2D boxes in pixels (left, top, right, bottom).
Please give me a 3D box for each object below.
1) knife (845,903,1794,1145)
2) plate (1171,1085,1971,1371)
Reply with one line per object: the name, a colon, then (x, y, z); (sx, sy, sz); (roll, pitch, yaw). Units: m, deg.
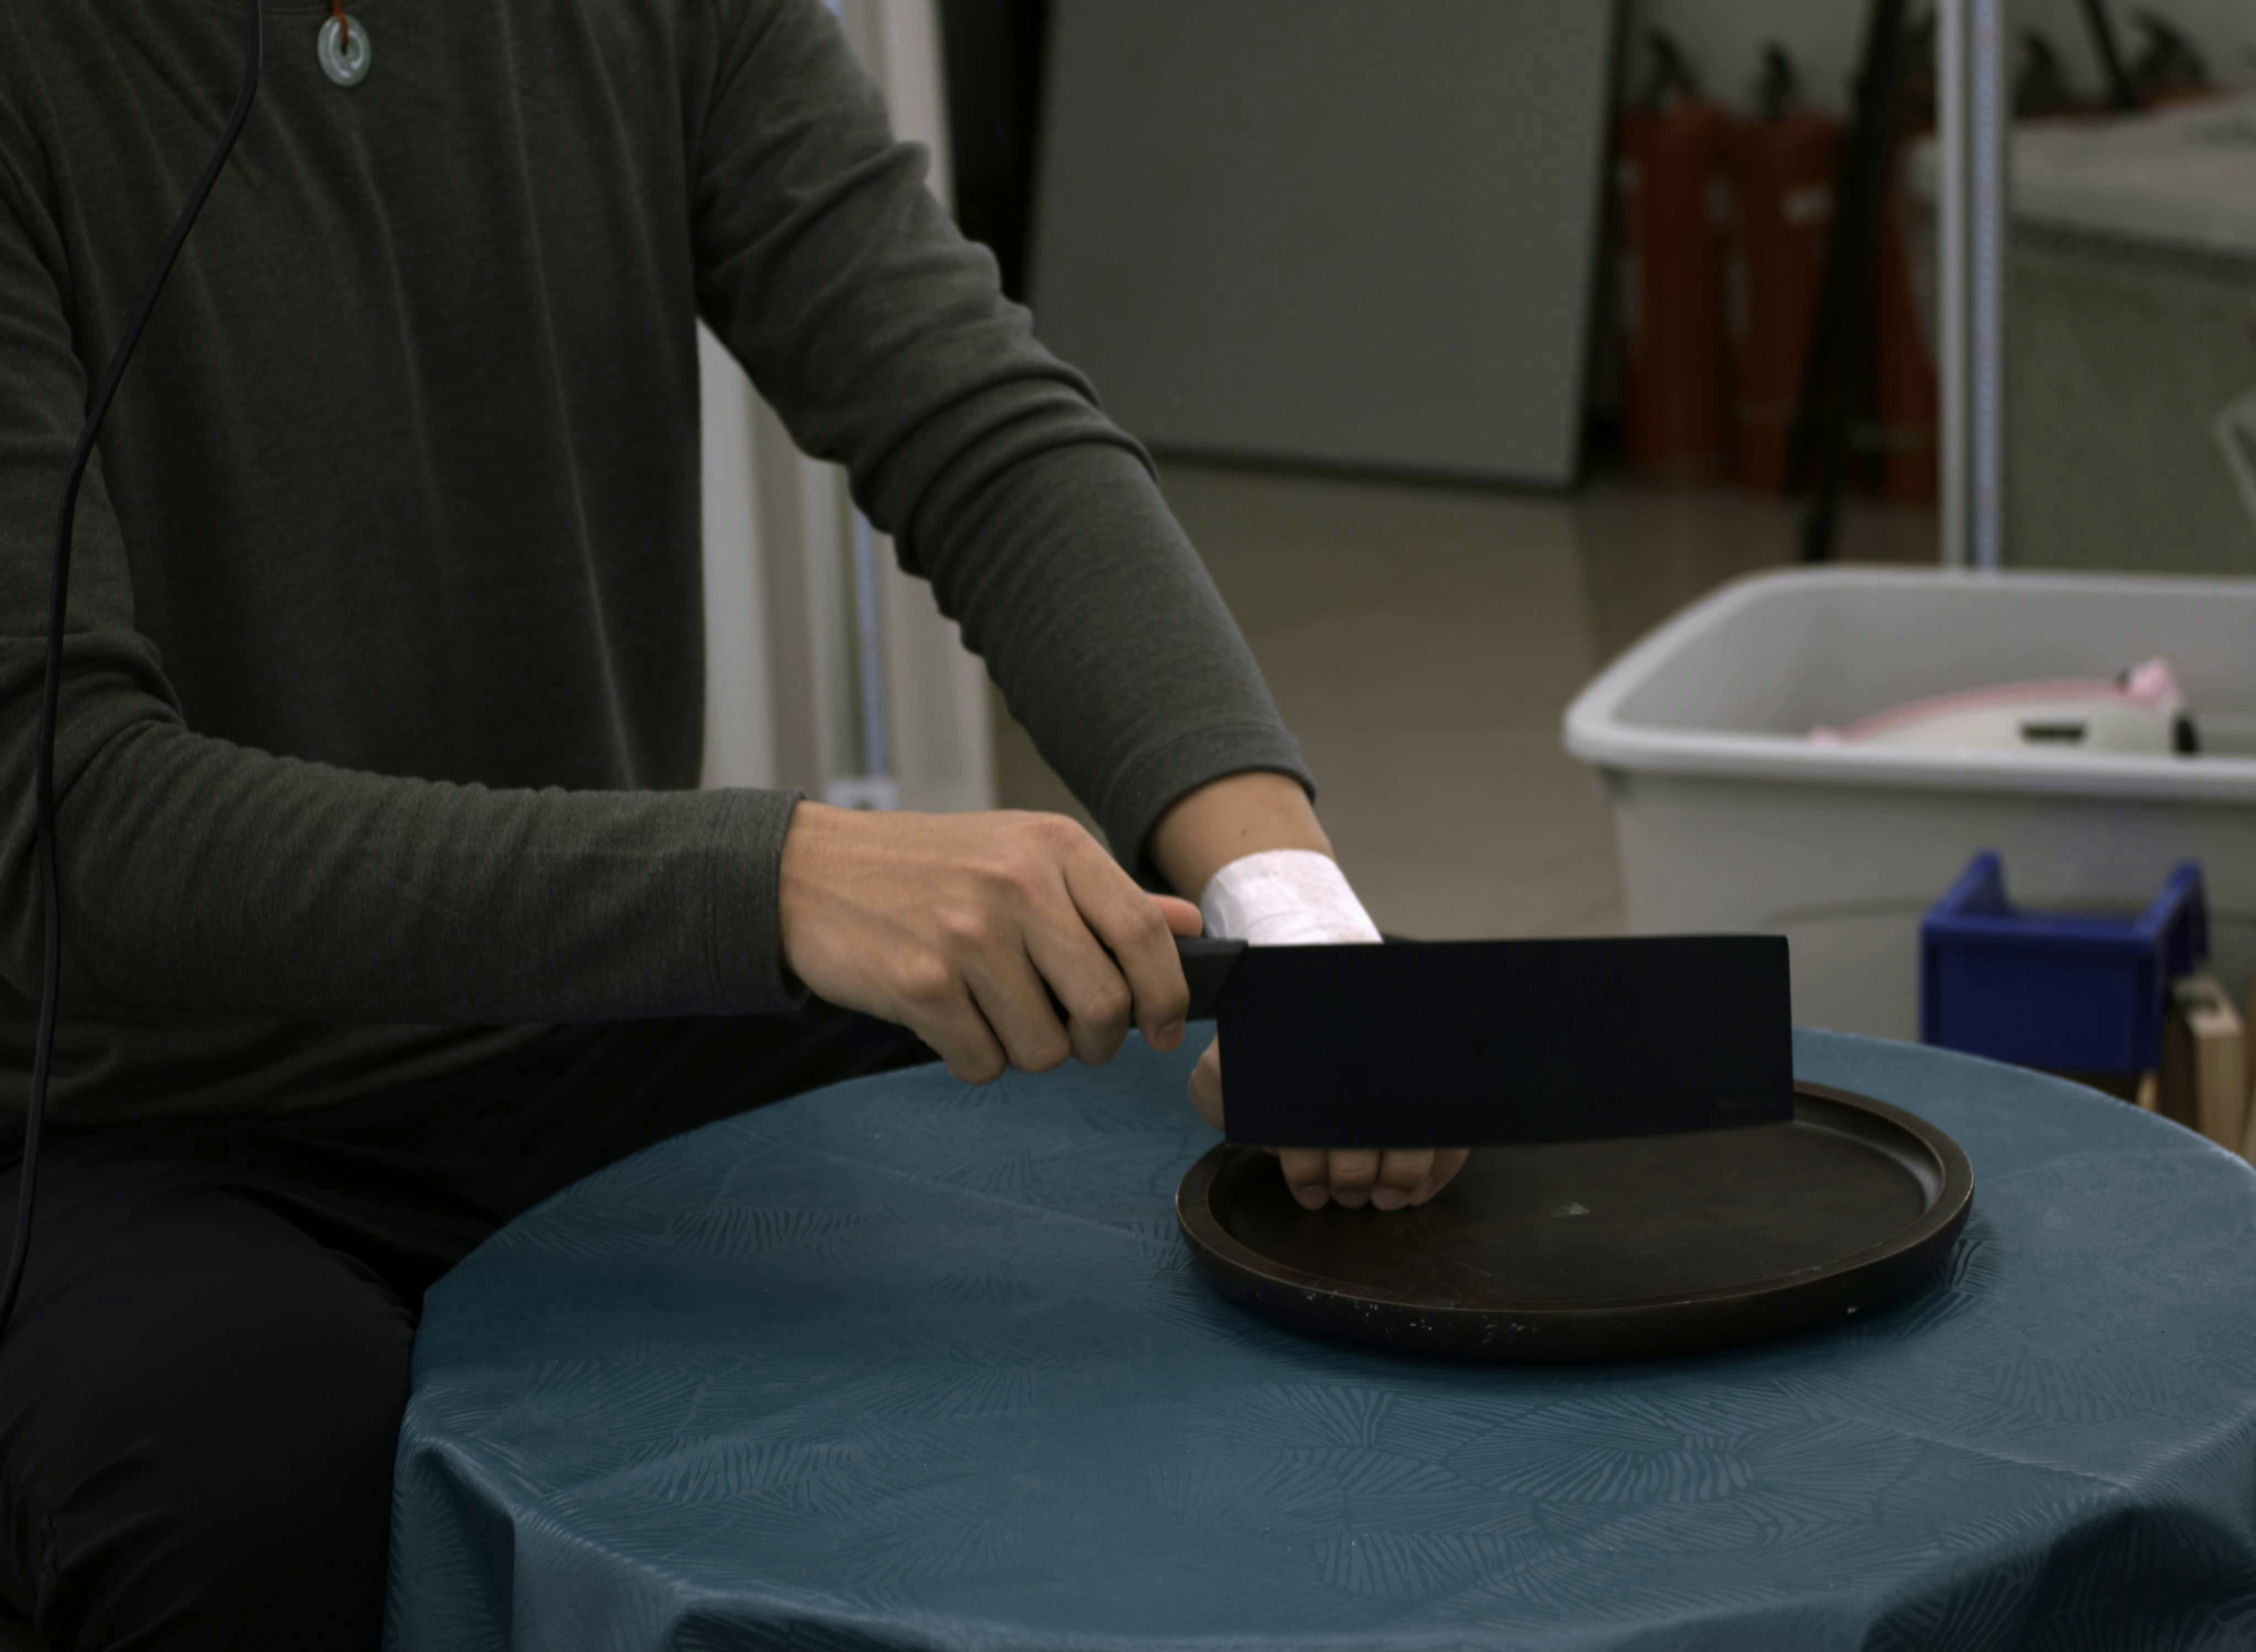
knife: (0.058, 0.060, 1.673); (0.300, 0.082, 0.021); (2, 9, 13)
plate: (0.138, 0.121, 1.687); (0.251, 0.029, 0.255); (-5, 14, 0)
